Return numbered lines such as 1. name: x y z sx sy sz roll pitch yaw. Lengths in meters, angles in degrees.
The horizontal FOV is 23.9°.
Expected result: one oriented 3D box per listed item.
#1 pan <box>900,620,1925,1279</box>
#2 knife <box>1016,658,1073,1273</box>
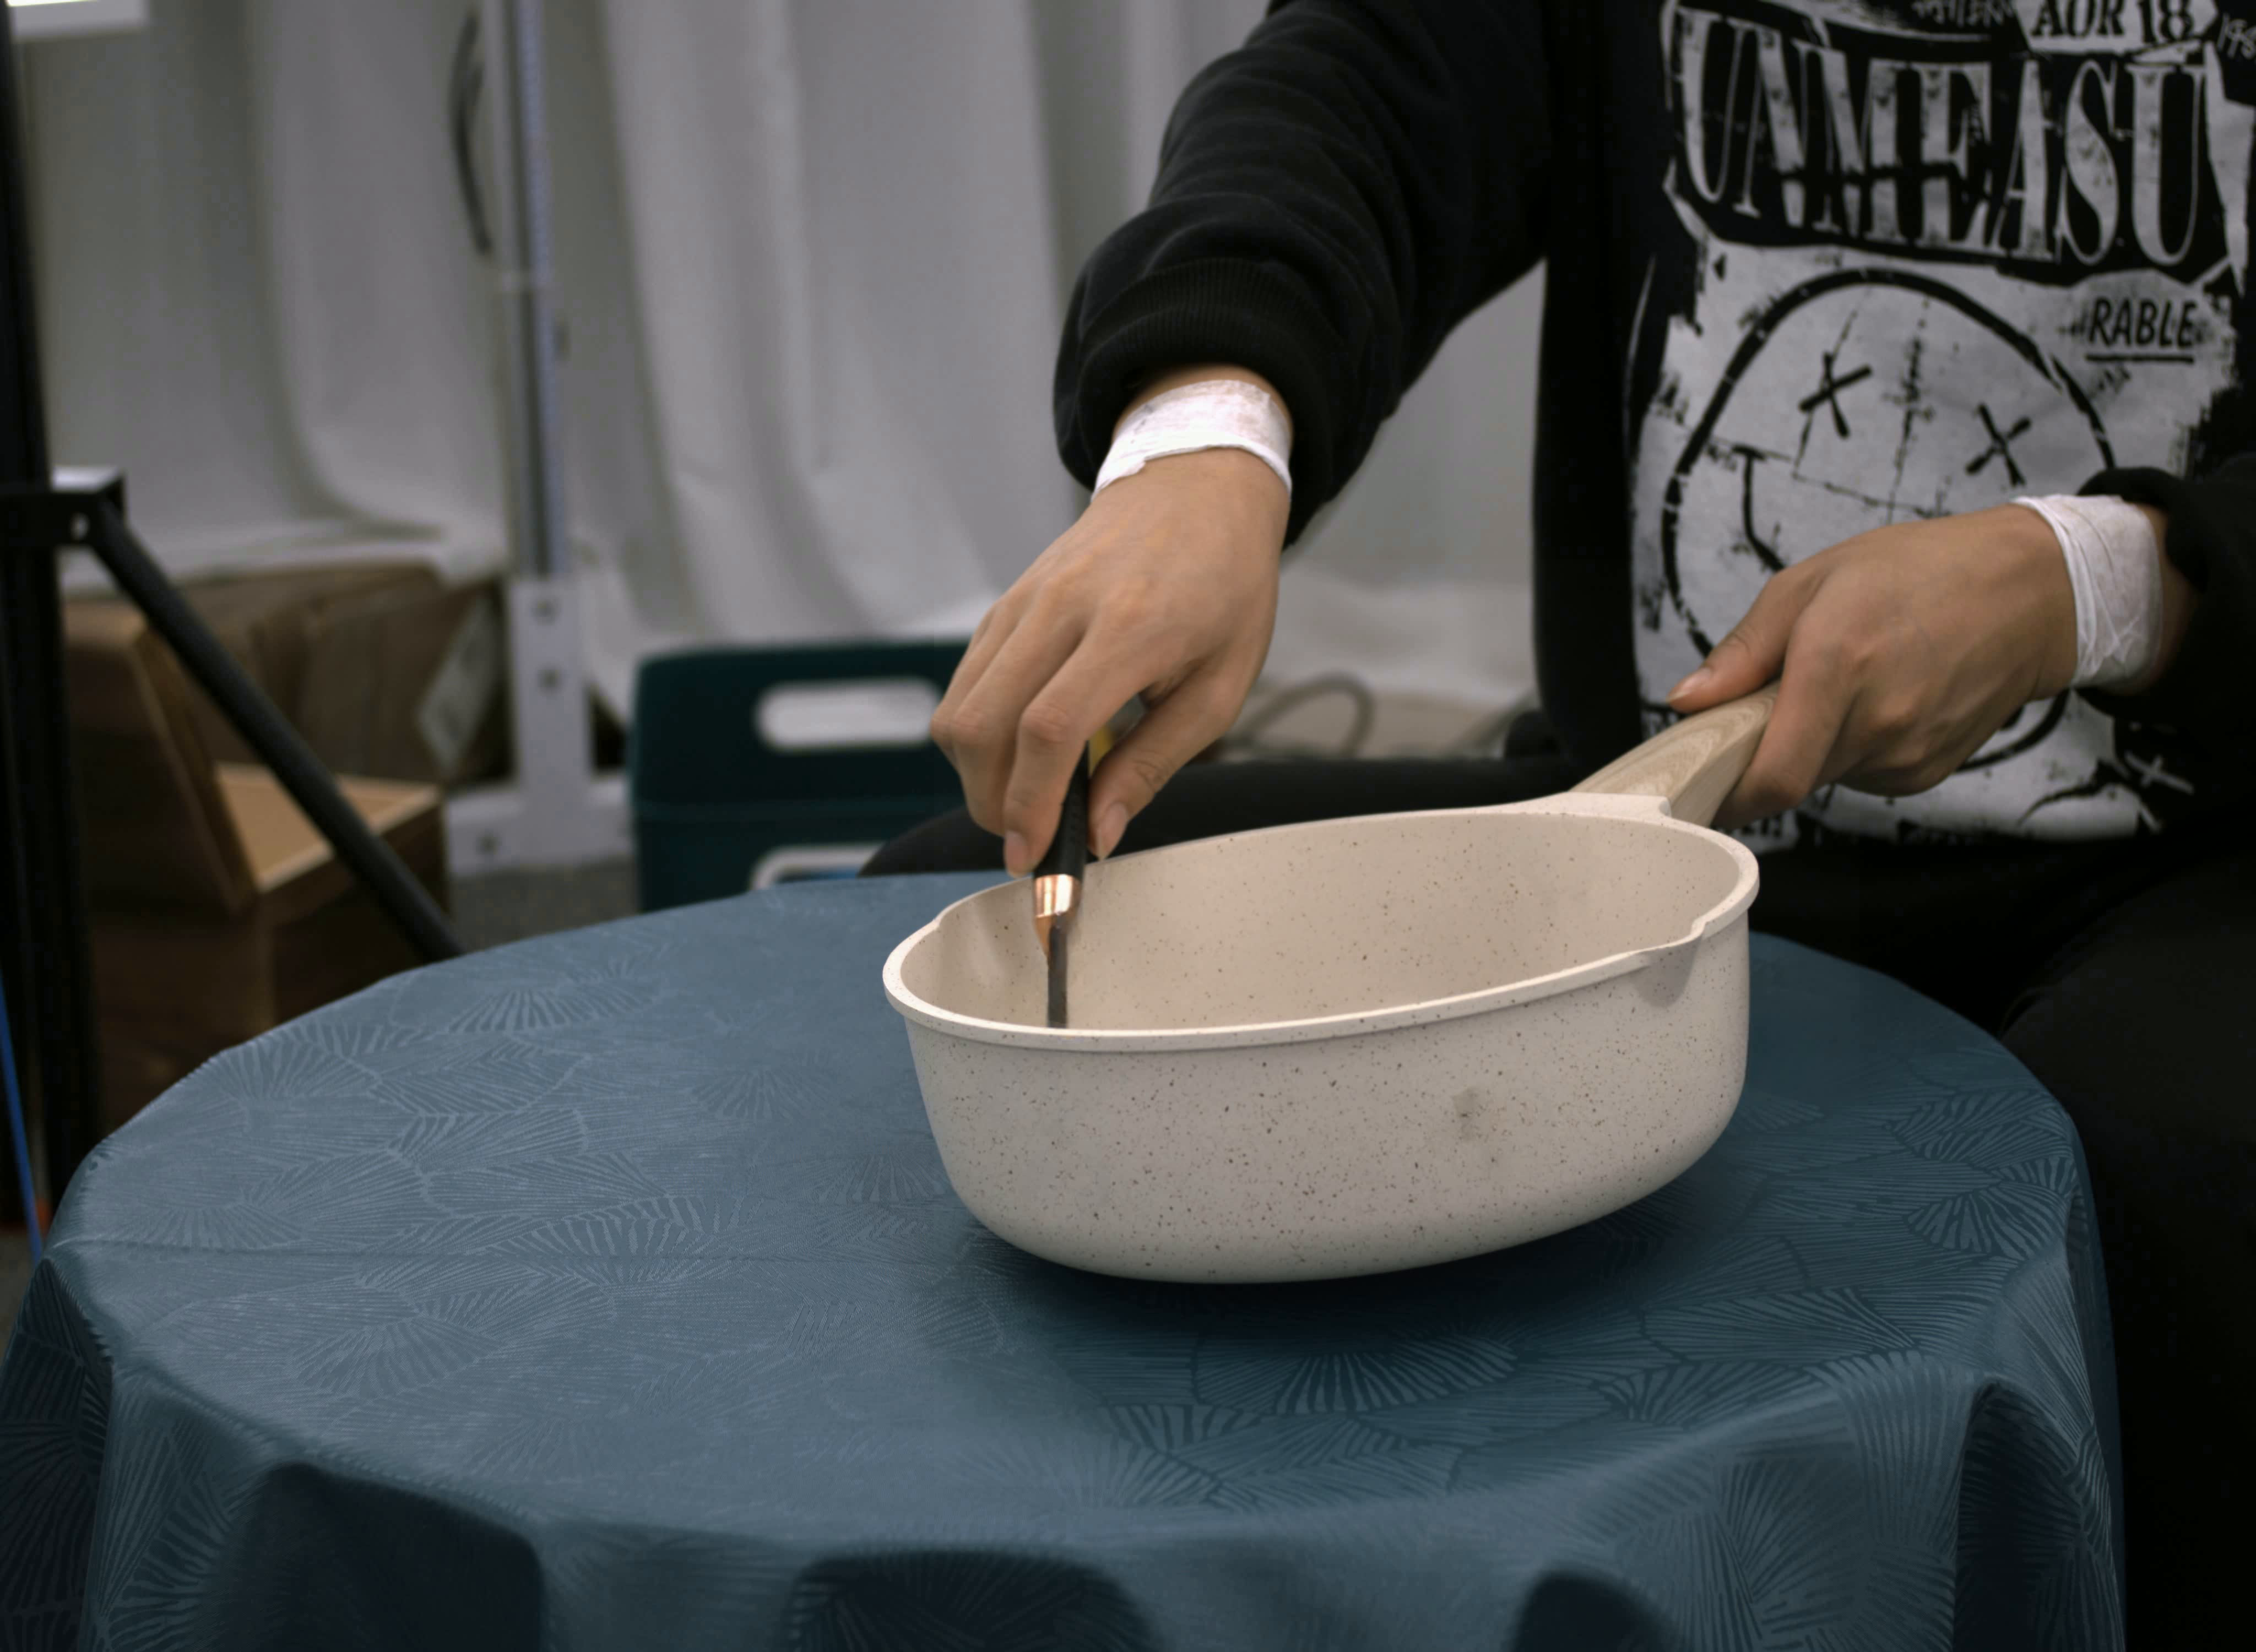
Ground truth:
1. pan: 0.122 0.035 1.575 0.269 0.102 0.425 1 14 42
2. knife: -0.024 0.037 1.553 0.017 0.026 0.228 2 47 -4
